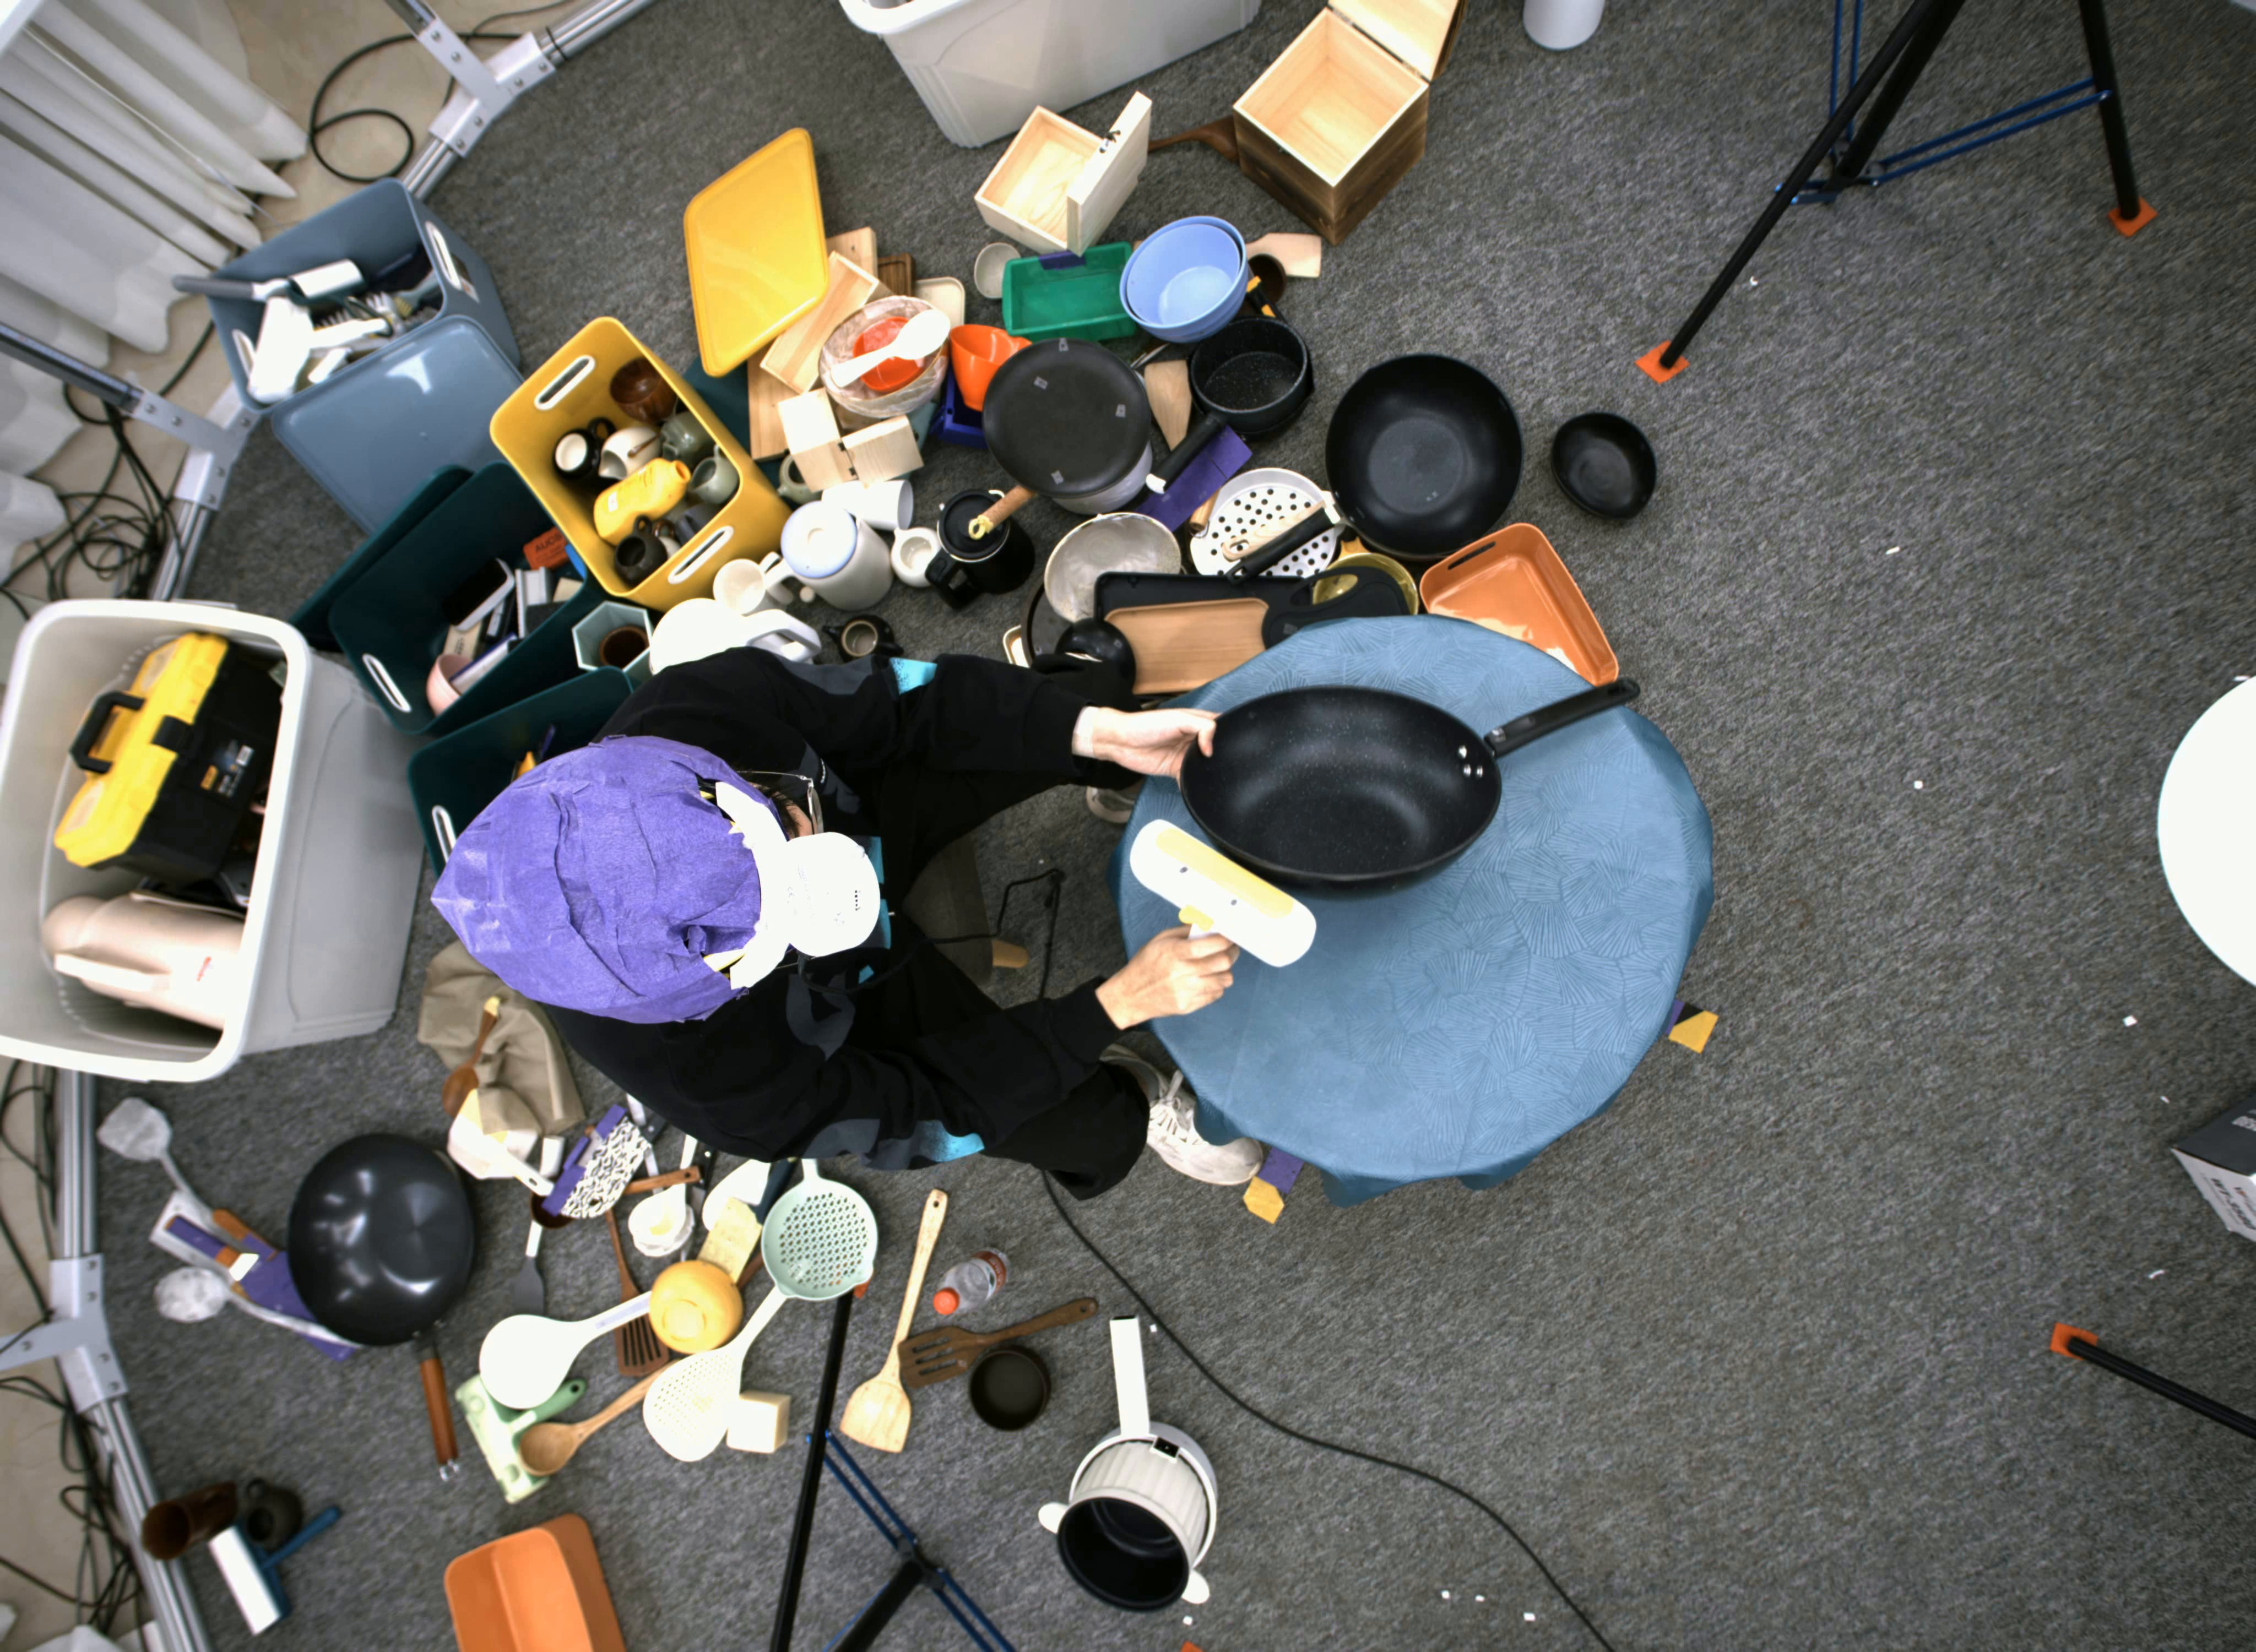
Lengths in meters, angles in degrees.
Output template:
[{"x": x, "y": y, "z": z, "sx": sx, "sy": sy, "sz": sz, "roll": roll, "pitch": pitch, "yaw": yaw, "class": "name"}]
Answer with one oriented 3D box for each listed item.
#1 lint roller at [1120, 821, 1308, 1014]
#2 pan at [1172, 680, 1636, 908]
[{"x": 0.074, "y": 0.104, "z": 1.326, "sx": 0.192, "sy": 0.197, "sz": 0.072, "roll": 26, "pitch": 54, "yaw": 21, "class": "lint roller"}, {"x": 0.279, "y": -0.048, "z": 1.359, "sx": 0.475, "sy": 0.114, "sz": 0.303, "roll": -14, "pitch": 43, "yaw": -9, "class": "pan"}]
